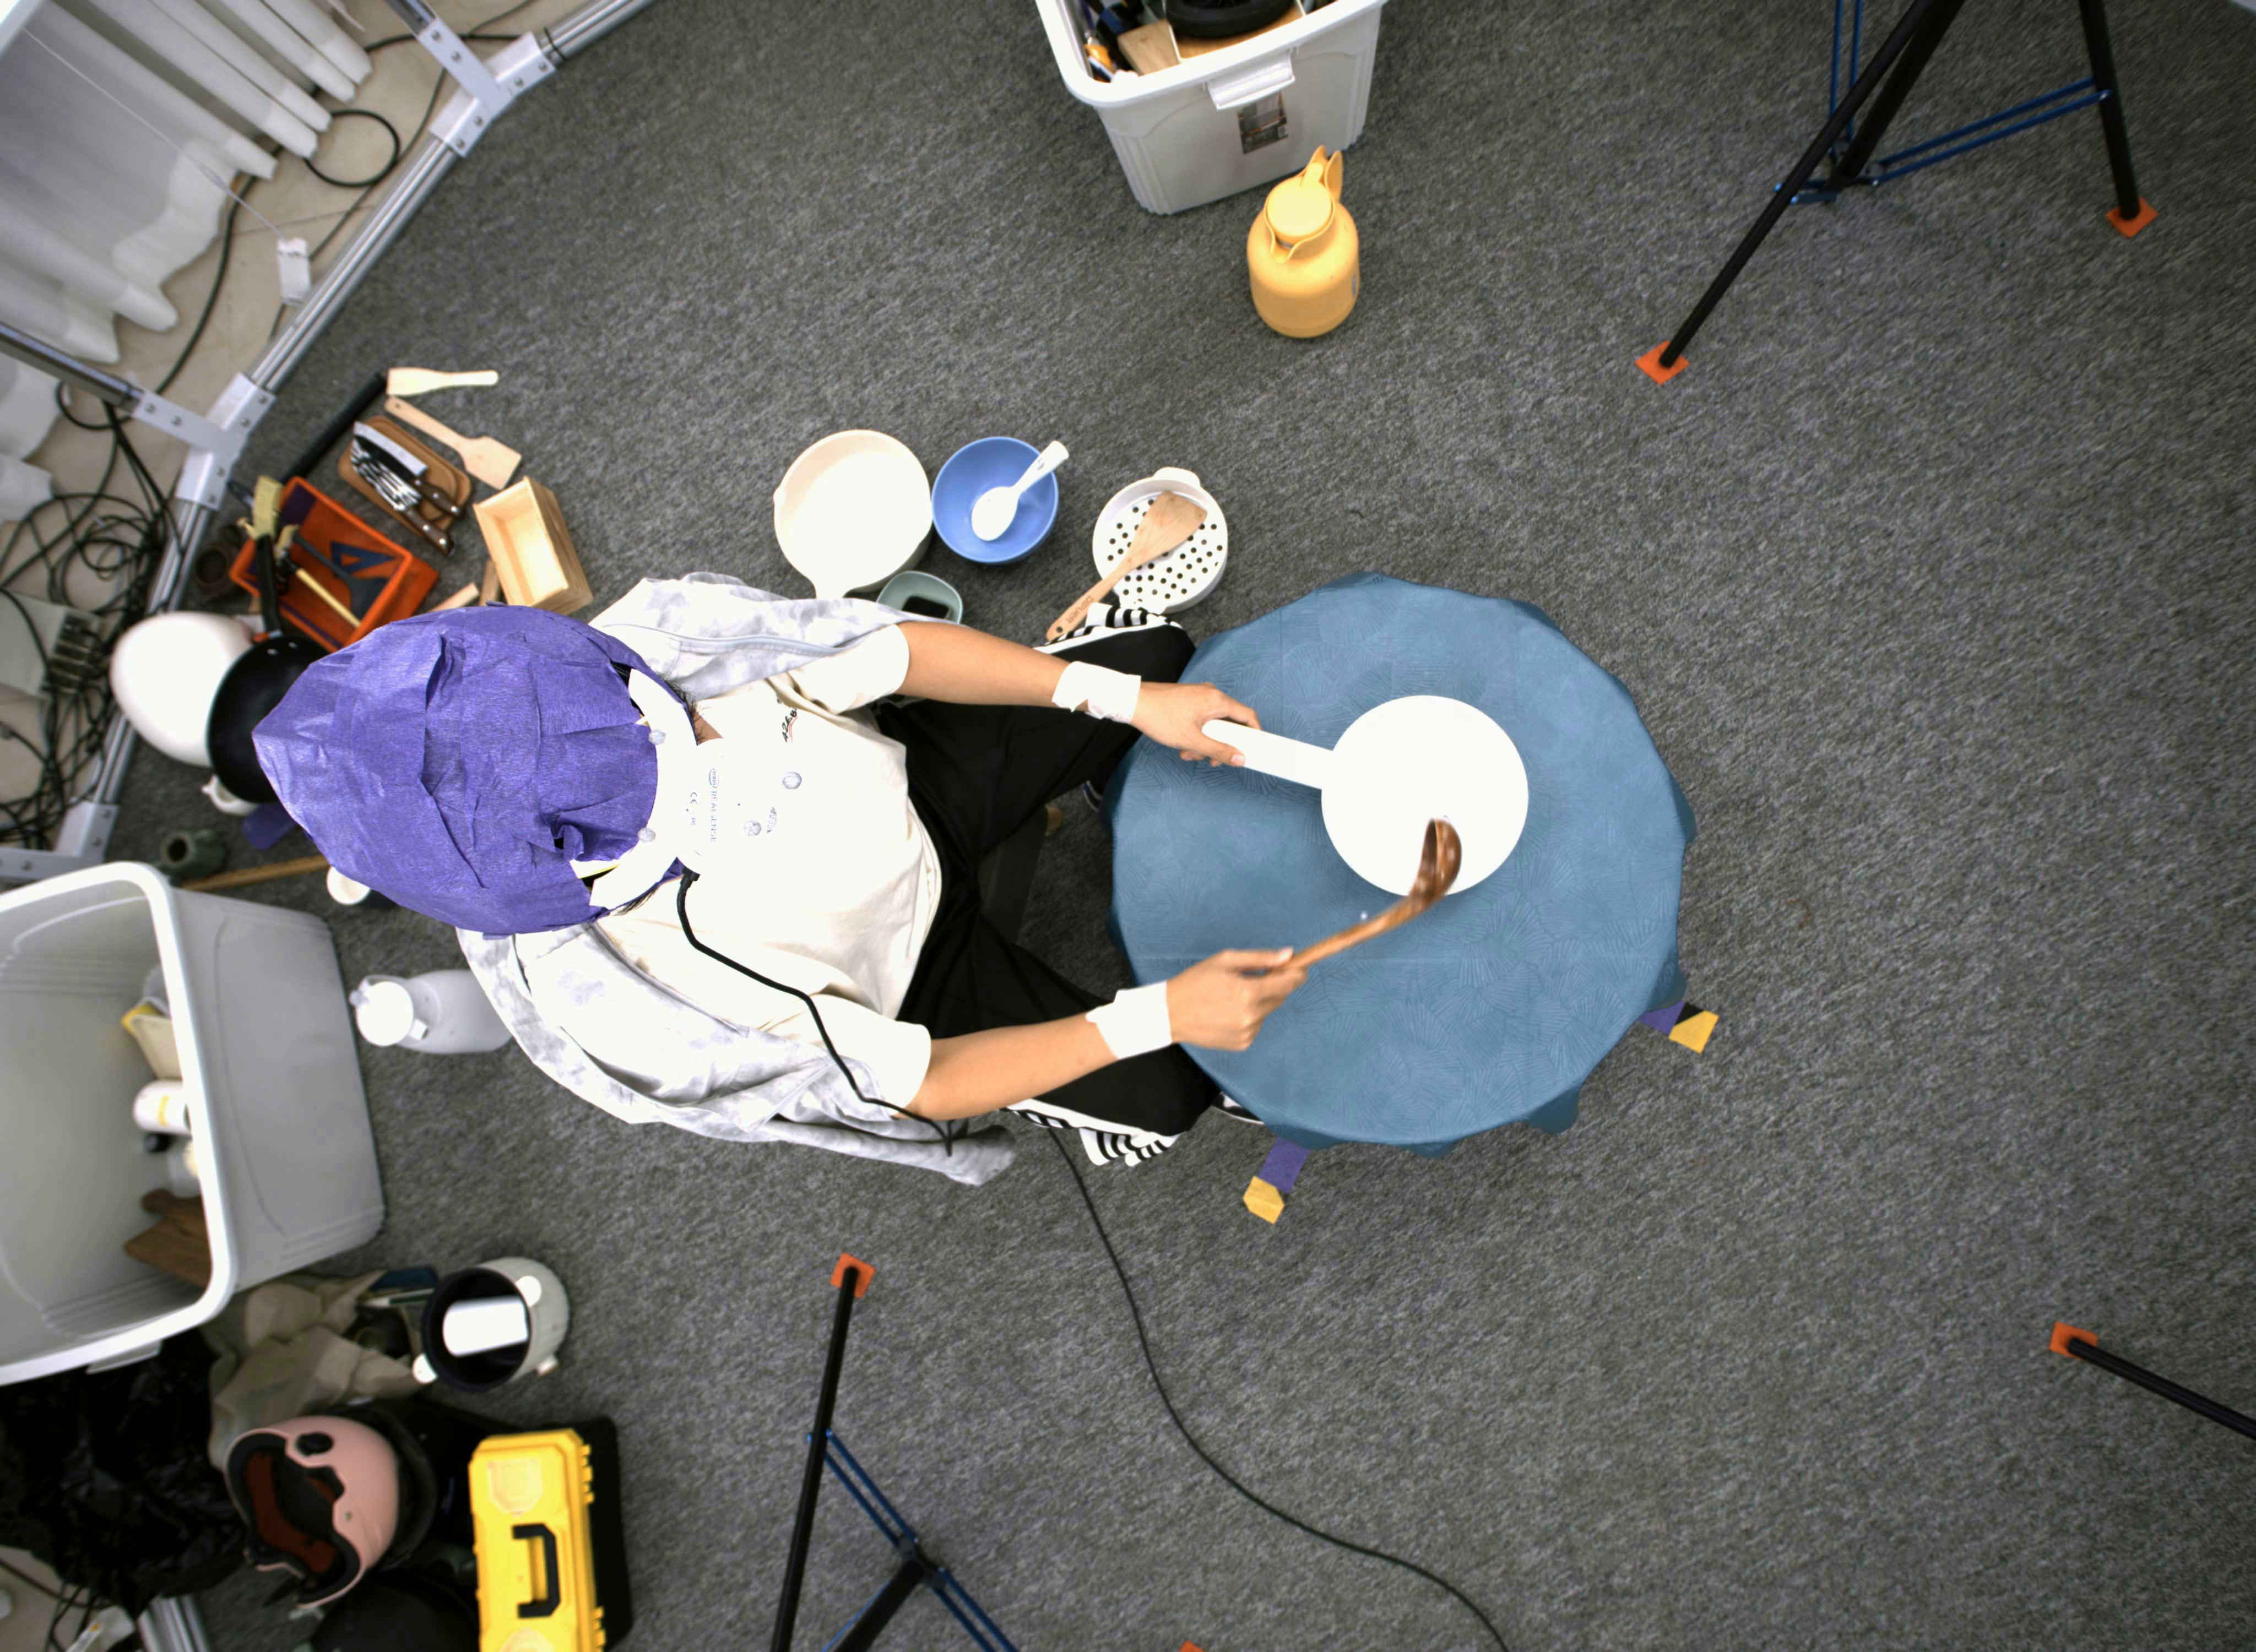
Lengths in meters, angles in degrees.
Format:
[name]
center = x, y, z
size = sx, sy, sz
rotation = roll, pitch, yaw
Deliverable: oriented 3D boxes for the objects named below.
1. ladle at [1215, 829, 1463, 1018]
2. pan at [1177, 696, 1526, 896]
[ladle]
center = 0.191, 0.090, 1.293
size = 0.276, 0.081, 0.076
rotation = -26, 86, 12
[pan]
center = 0.228, -0.049, 1.423
size = 0.355, 0.102, 0.201
rotation = 17, 91, 12
